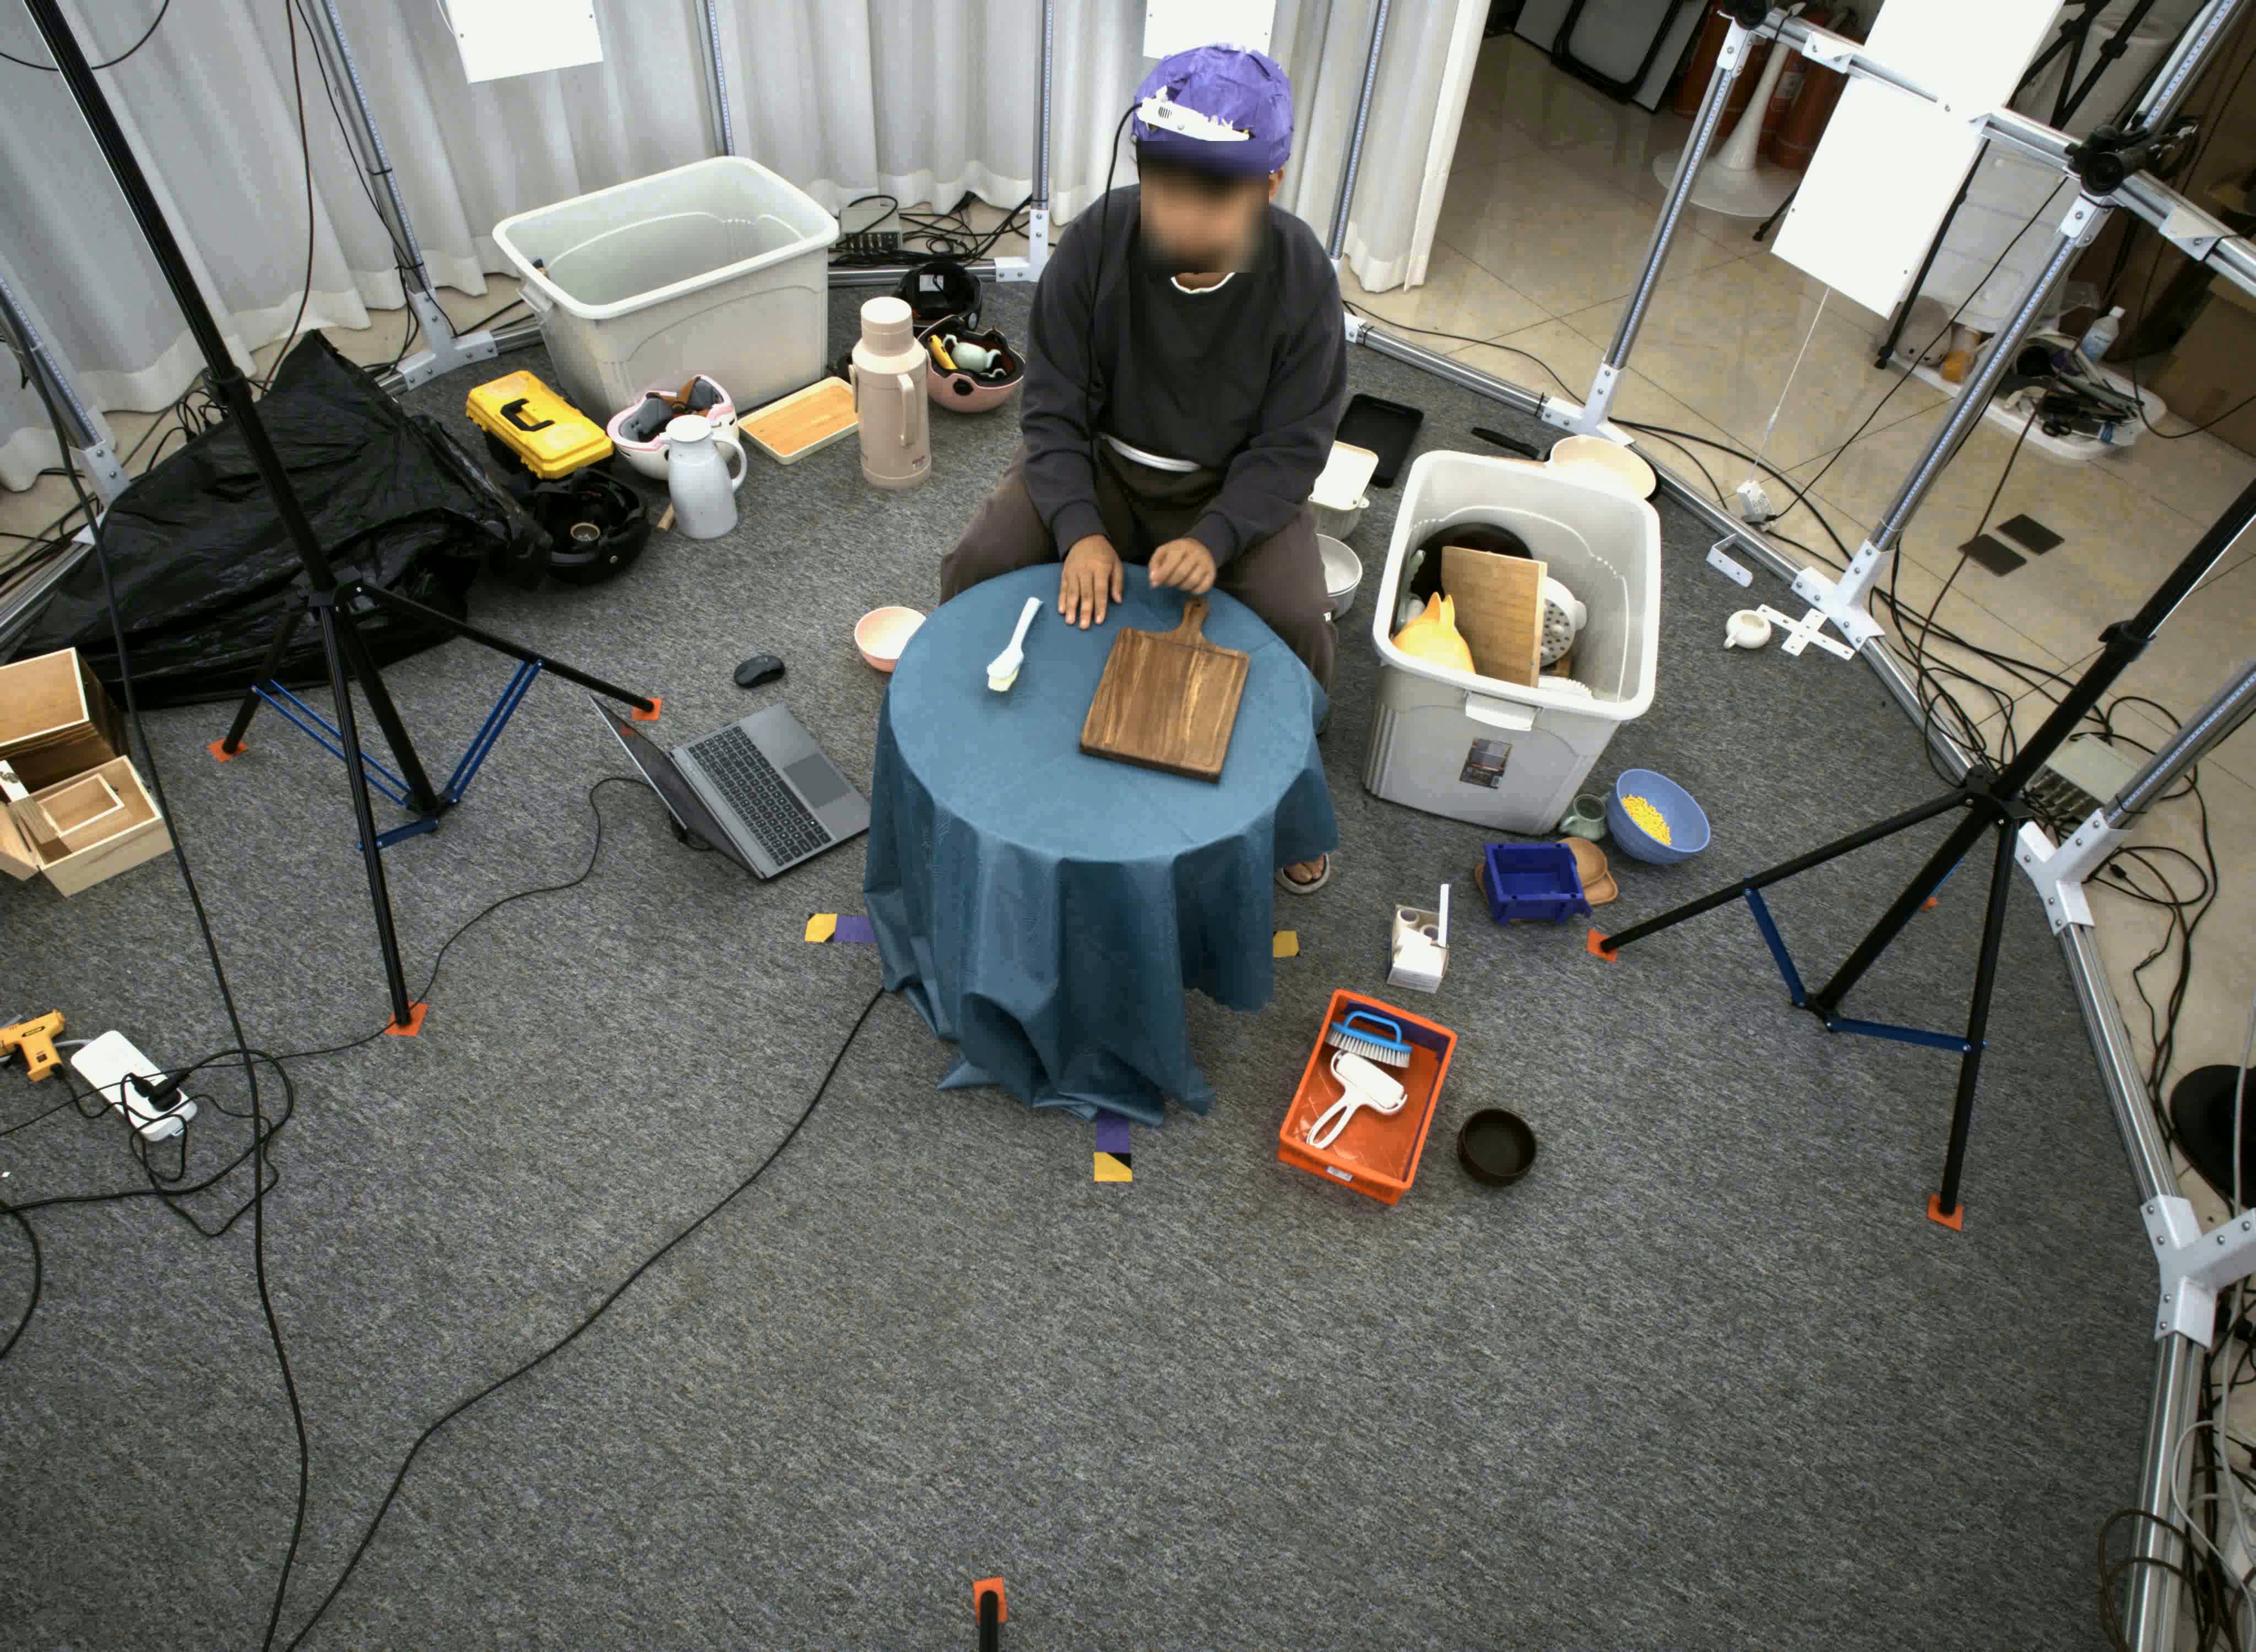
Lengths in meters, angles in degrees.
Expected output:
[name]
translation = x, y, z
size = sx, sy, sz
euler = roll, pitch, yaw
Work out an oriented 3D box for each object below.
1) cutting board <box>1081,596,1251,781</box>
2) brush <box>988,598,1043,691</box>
[cutting board]
translation = 0.070, -0.213, 1.842
size = 0.201, 0.022, 0.360
euler = 13, 49, 6
[brush]
translation = -0.160, -0.267, 1.865
size = 0.038, 0.048, 0.234
euler = 12, 41, 3
